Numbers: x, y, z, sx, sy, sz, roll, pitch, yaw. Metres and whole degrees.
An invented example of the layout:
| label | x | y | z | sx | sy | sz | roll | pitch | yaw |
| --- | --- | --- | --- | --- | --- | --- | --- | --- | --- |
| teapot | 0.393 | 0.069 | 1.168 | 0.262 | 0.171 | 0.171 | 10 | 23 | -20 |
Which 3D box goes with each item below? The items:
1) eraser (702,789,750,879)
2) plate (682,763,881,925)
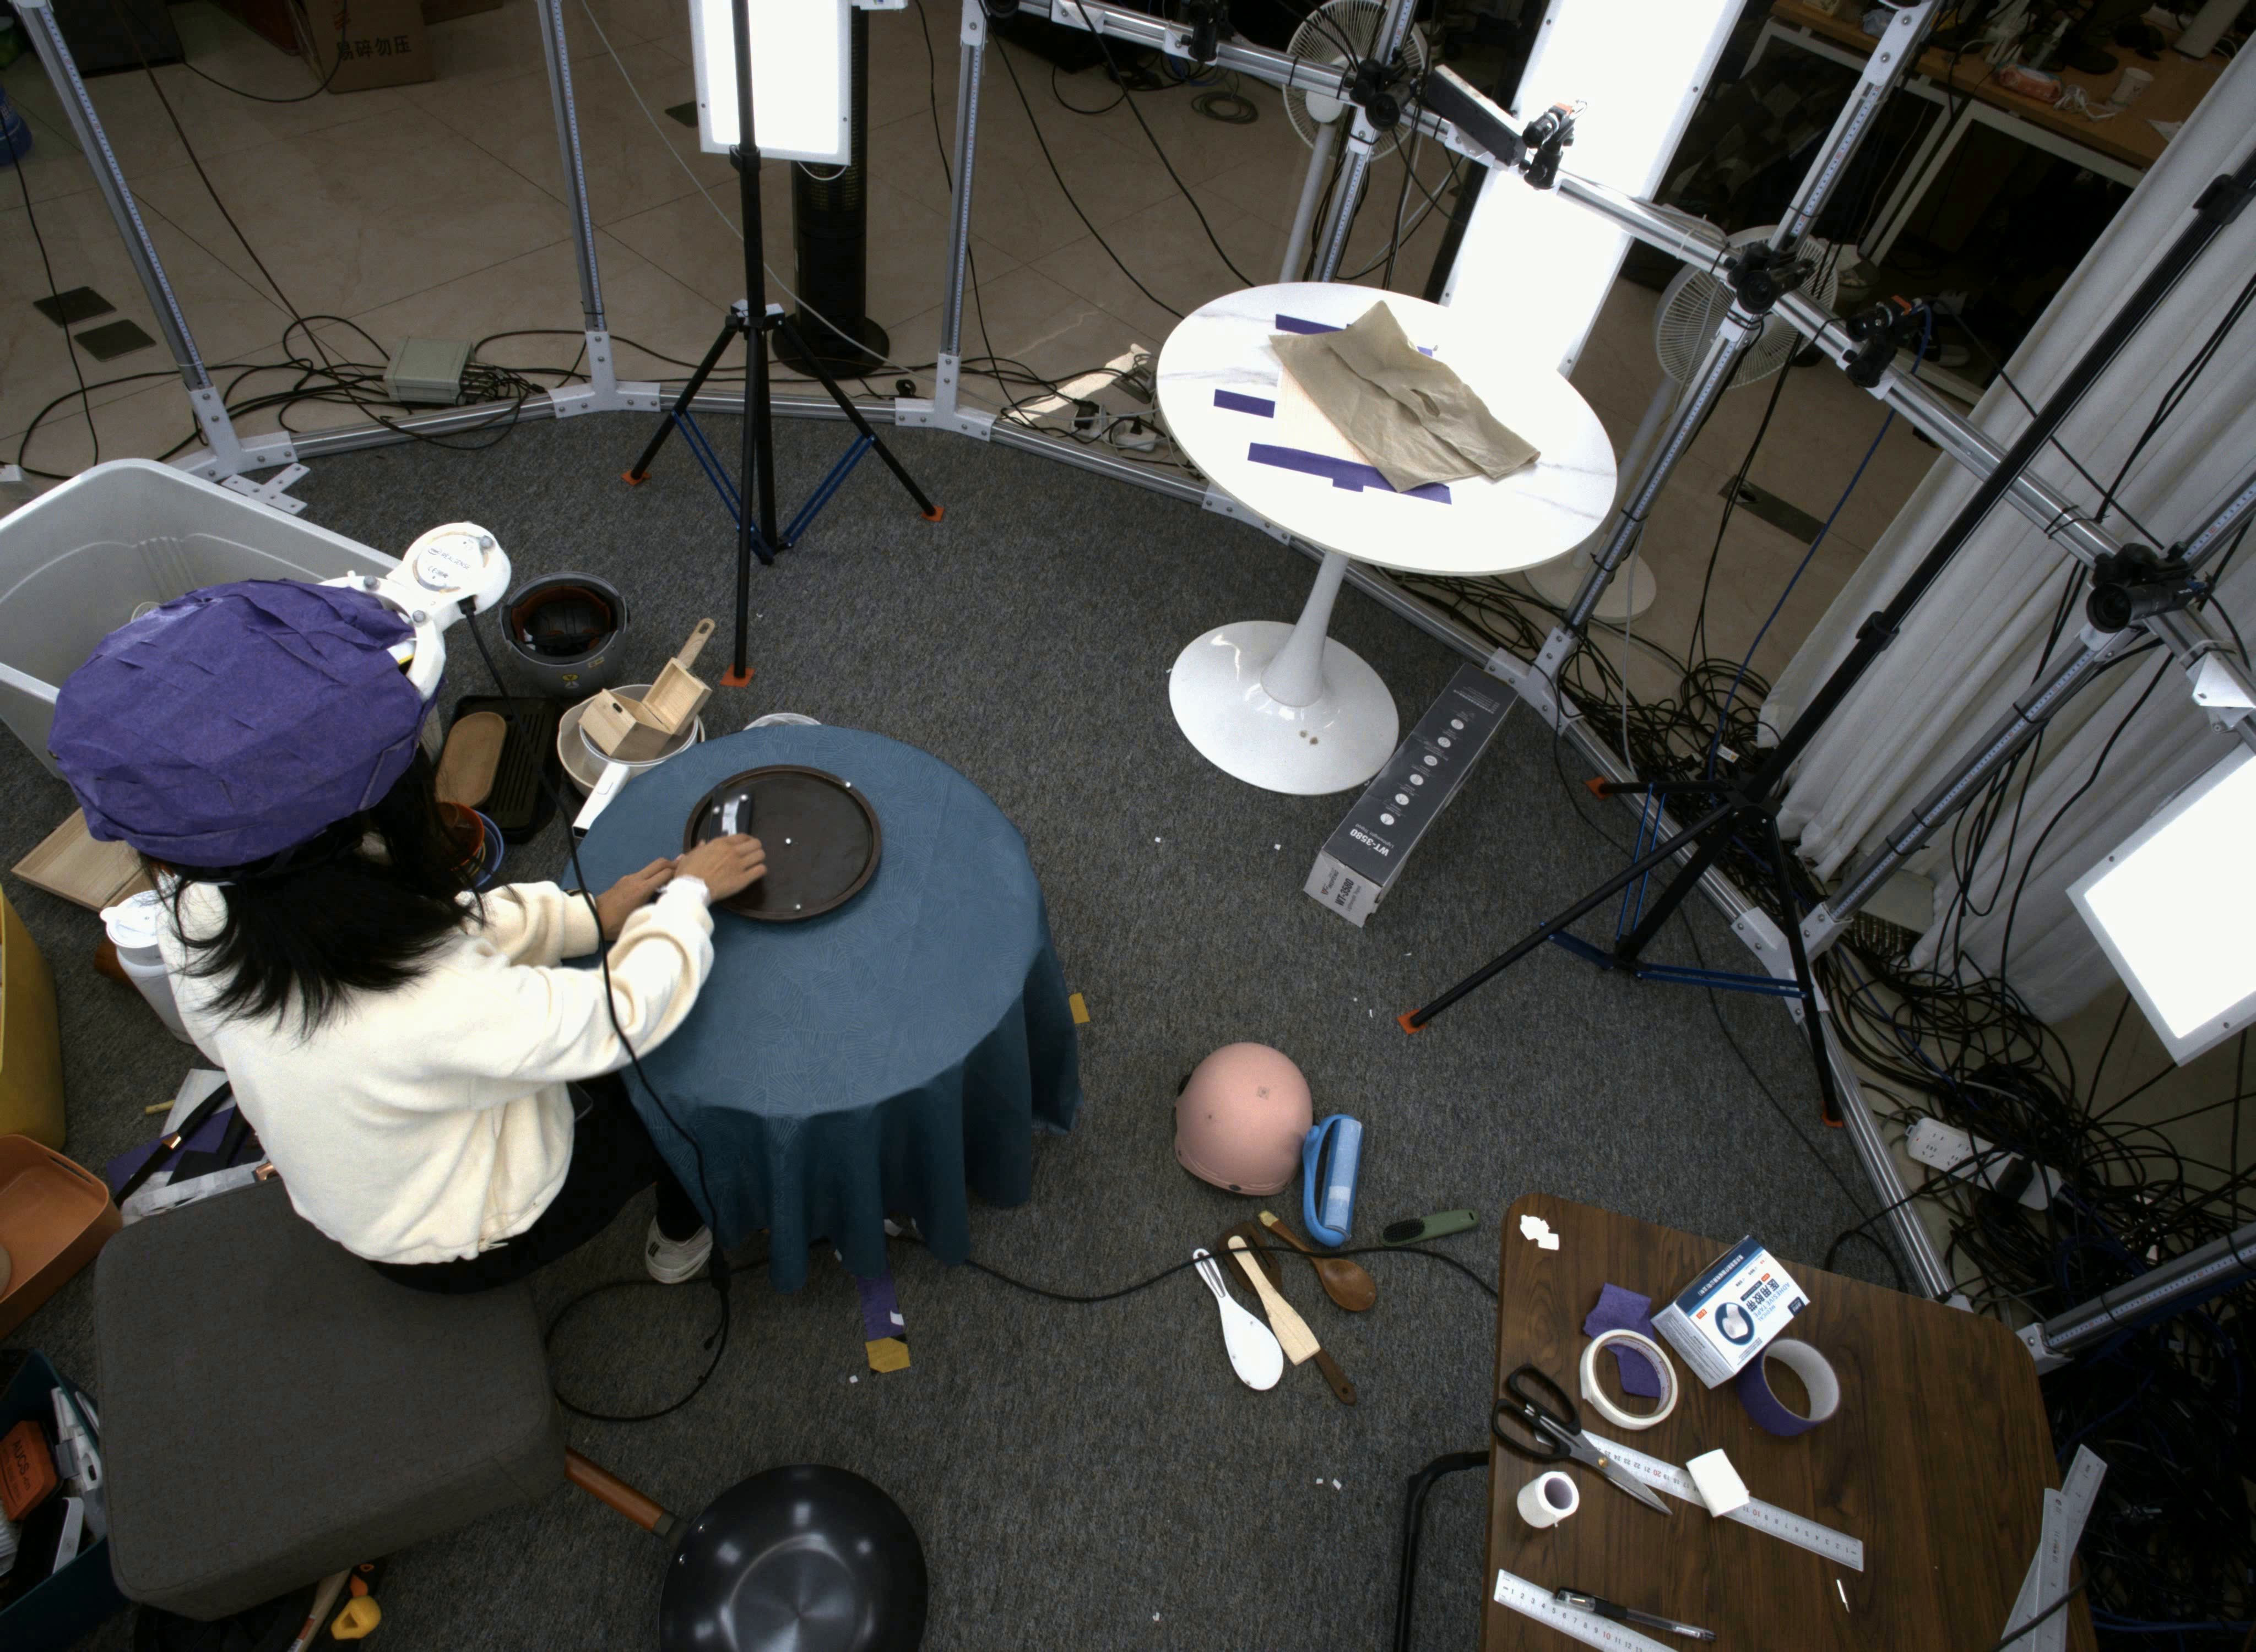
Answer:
| label | x | y | z | sx | sy | sz | roll | pitch | yaw |
| --- | --- | --- | --- | --- | --- | --- | --- | --- | --- |
| eraser | -0.514 | 0.008 | 1.655 | 0.053 | 0.031 | 0.123 | 0 | 55 | -12 |
| plate | -0.449 | 0.021 | 1.681 | 0.254 | 0.029 | 0.250 | 9 | 51 | -9 |
